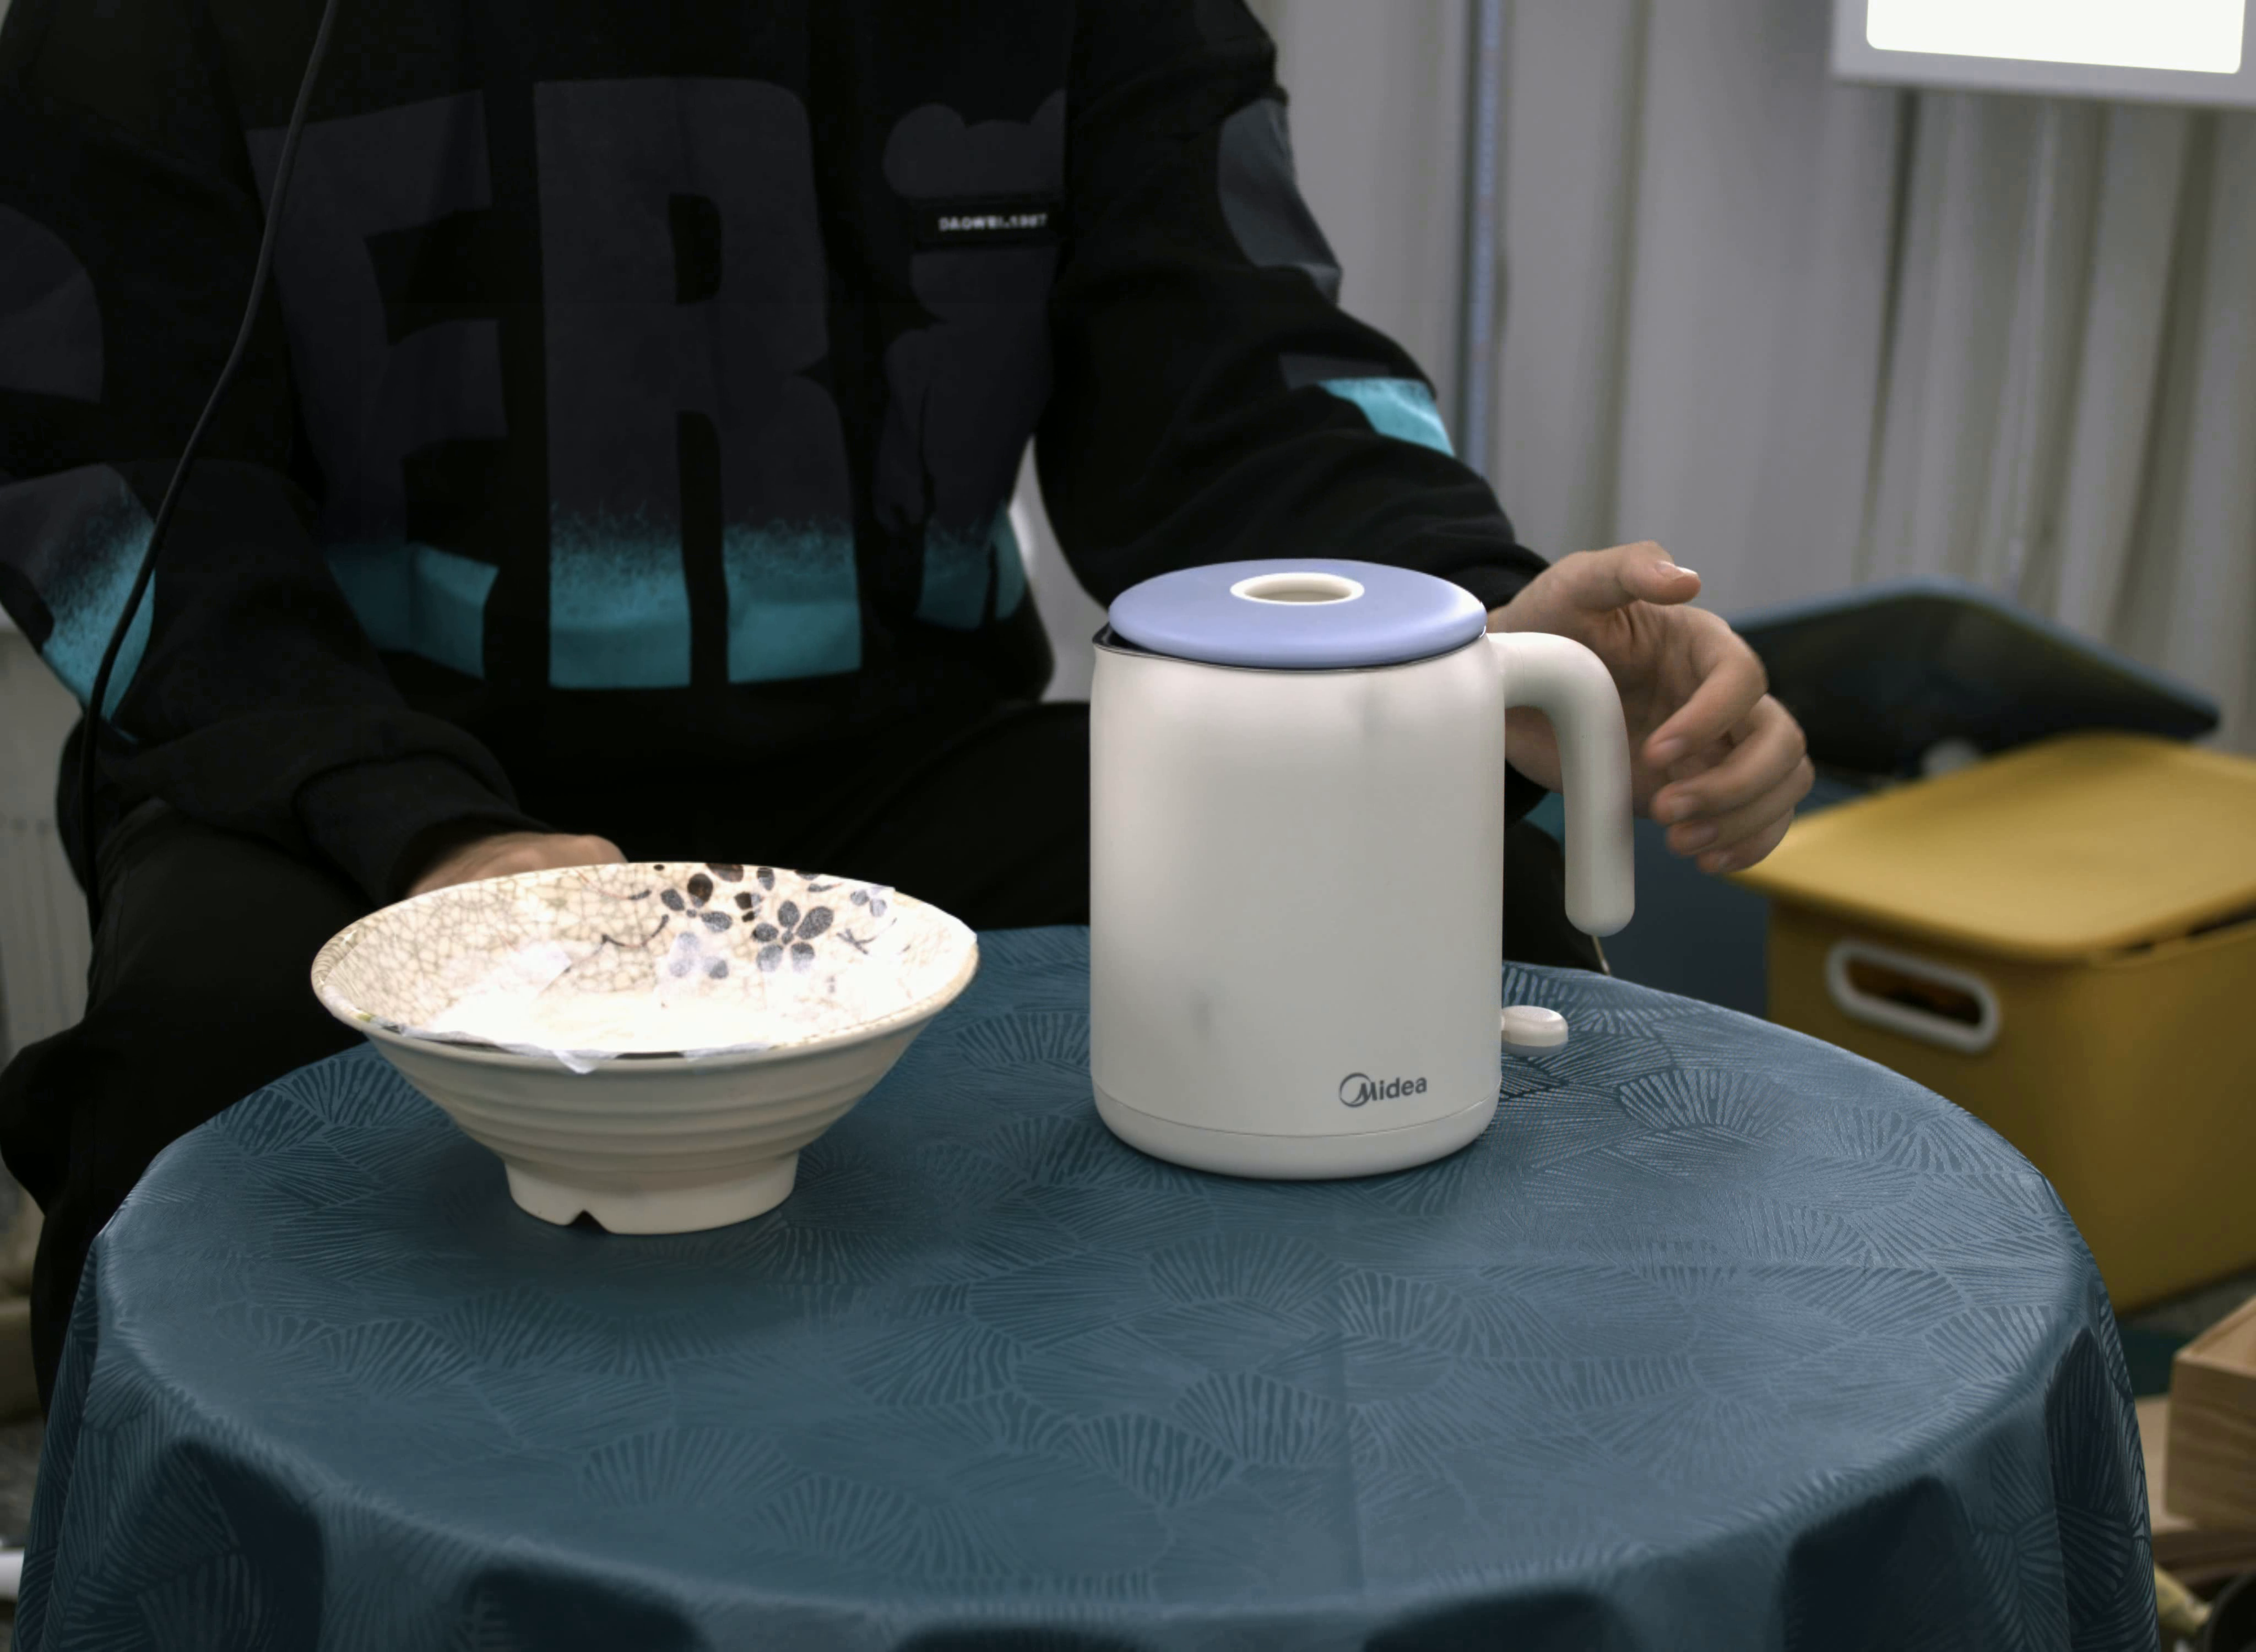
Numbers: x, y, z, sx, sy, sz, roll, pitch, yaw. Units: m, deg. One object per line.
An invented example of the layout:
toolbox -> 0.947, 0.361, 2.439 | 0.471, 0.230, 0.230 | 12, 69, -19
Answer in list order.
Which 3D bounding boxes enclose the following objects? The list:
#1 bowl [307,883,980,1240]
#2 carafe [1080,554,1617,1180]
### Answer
bowl -> -0.146, 0.077, 1.604 | 0.203, 0.078, 0.203 | 0, 13, 1
carafe -> 0.074, 0.010, 1.672 | 0.192, 0.184, 0.130 | -5, 18, -25
